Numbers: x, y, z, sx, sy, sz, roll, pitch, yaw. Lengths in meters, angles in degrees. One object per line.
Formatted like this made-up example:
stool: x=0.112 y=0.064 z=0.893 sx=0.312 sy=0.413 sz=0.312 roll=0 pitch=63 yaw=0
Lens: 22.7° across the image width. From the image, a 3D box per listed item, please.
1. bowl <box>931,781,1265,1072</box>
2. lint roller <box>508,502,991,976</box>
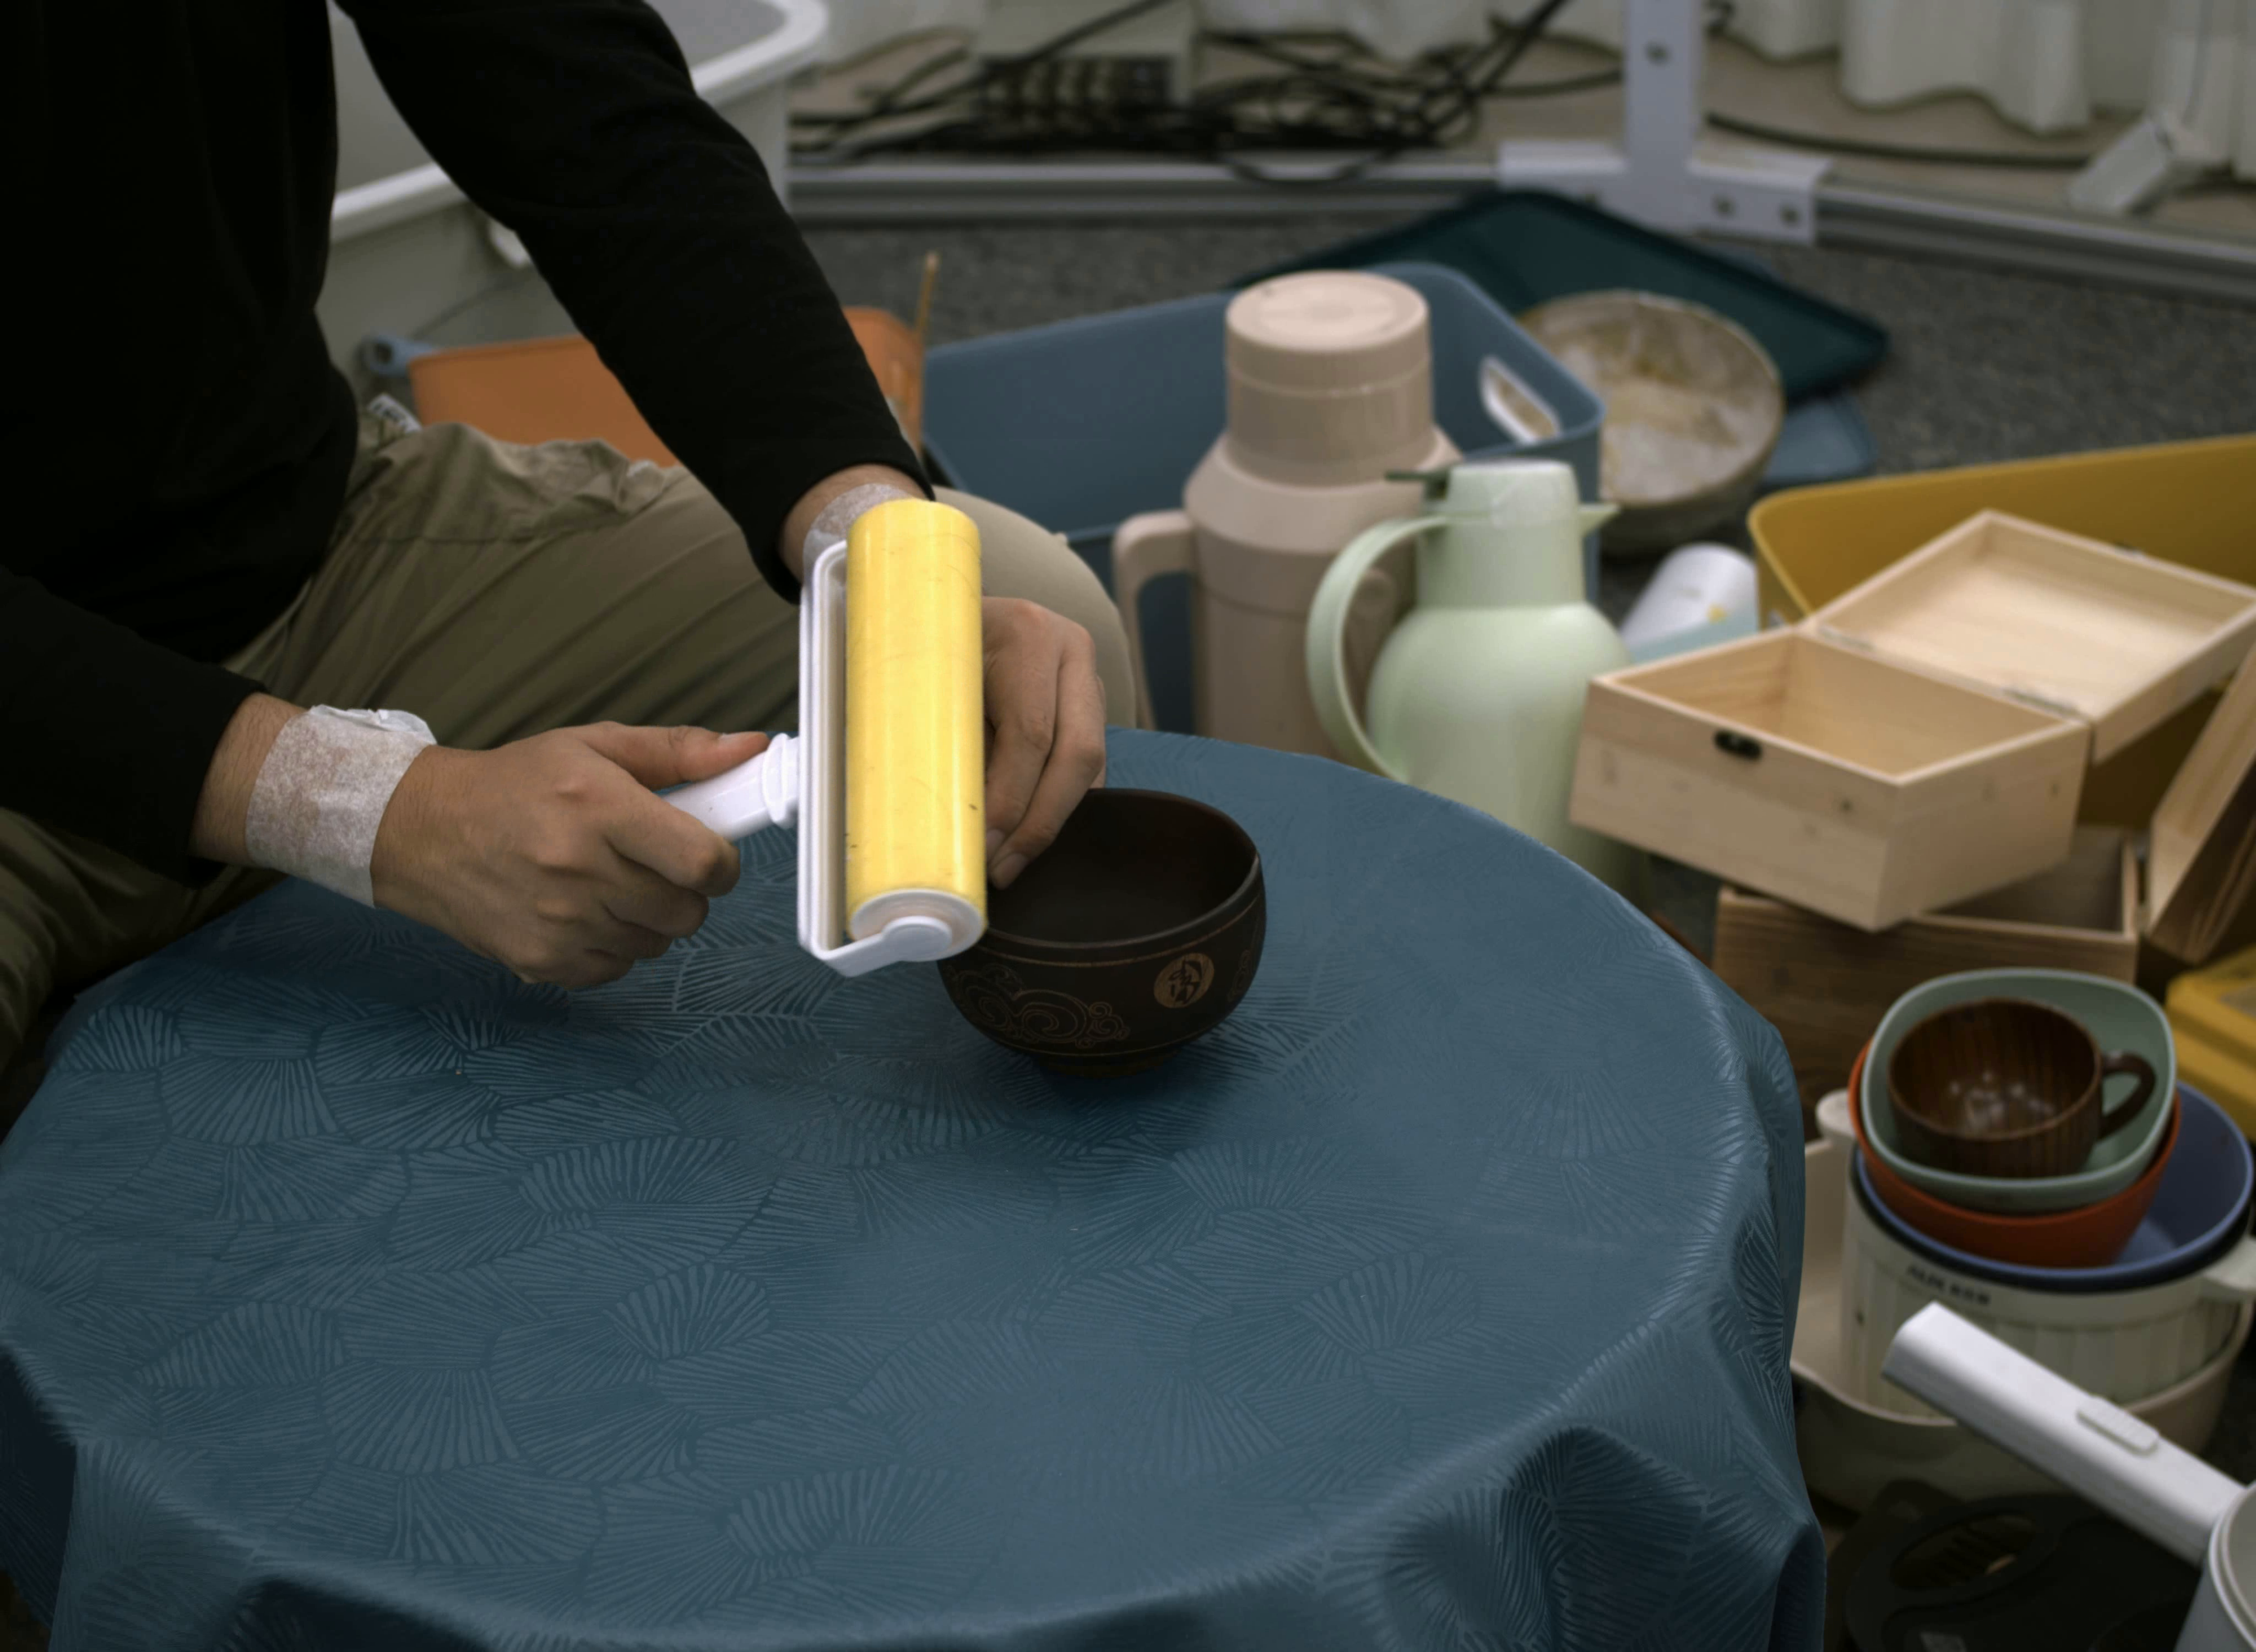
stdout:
bowl: x=-0.011 y=0.041 z=1.937 sx=0.117 sy=0.069 sz=0.120 roll=-1 pitch=27 yaw=1
lint roller: x=-0.137 y=-0.012 z=1.935 sx=0.190 sy=0.051 sz=0.177 roll=-16 pitch=53 yaw=17
